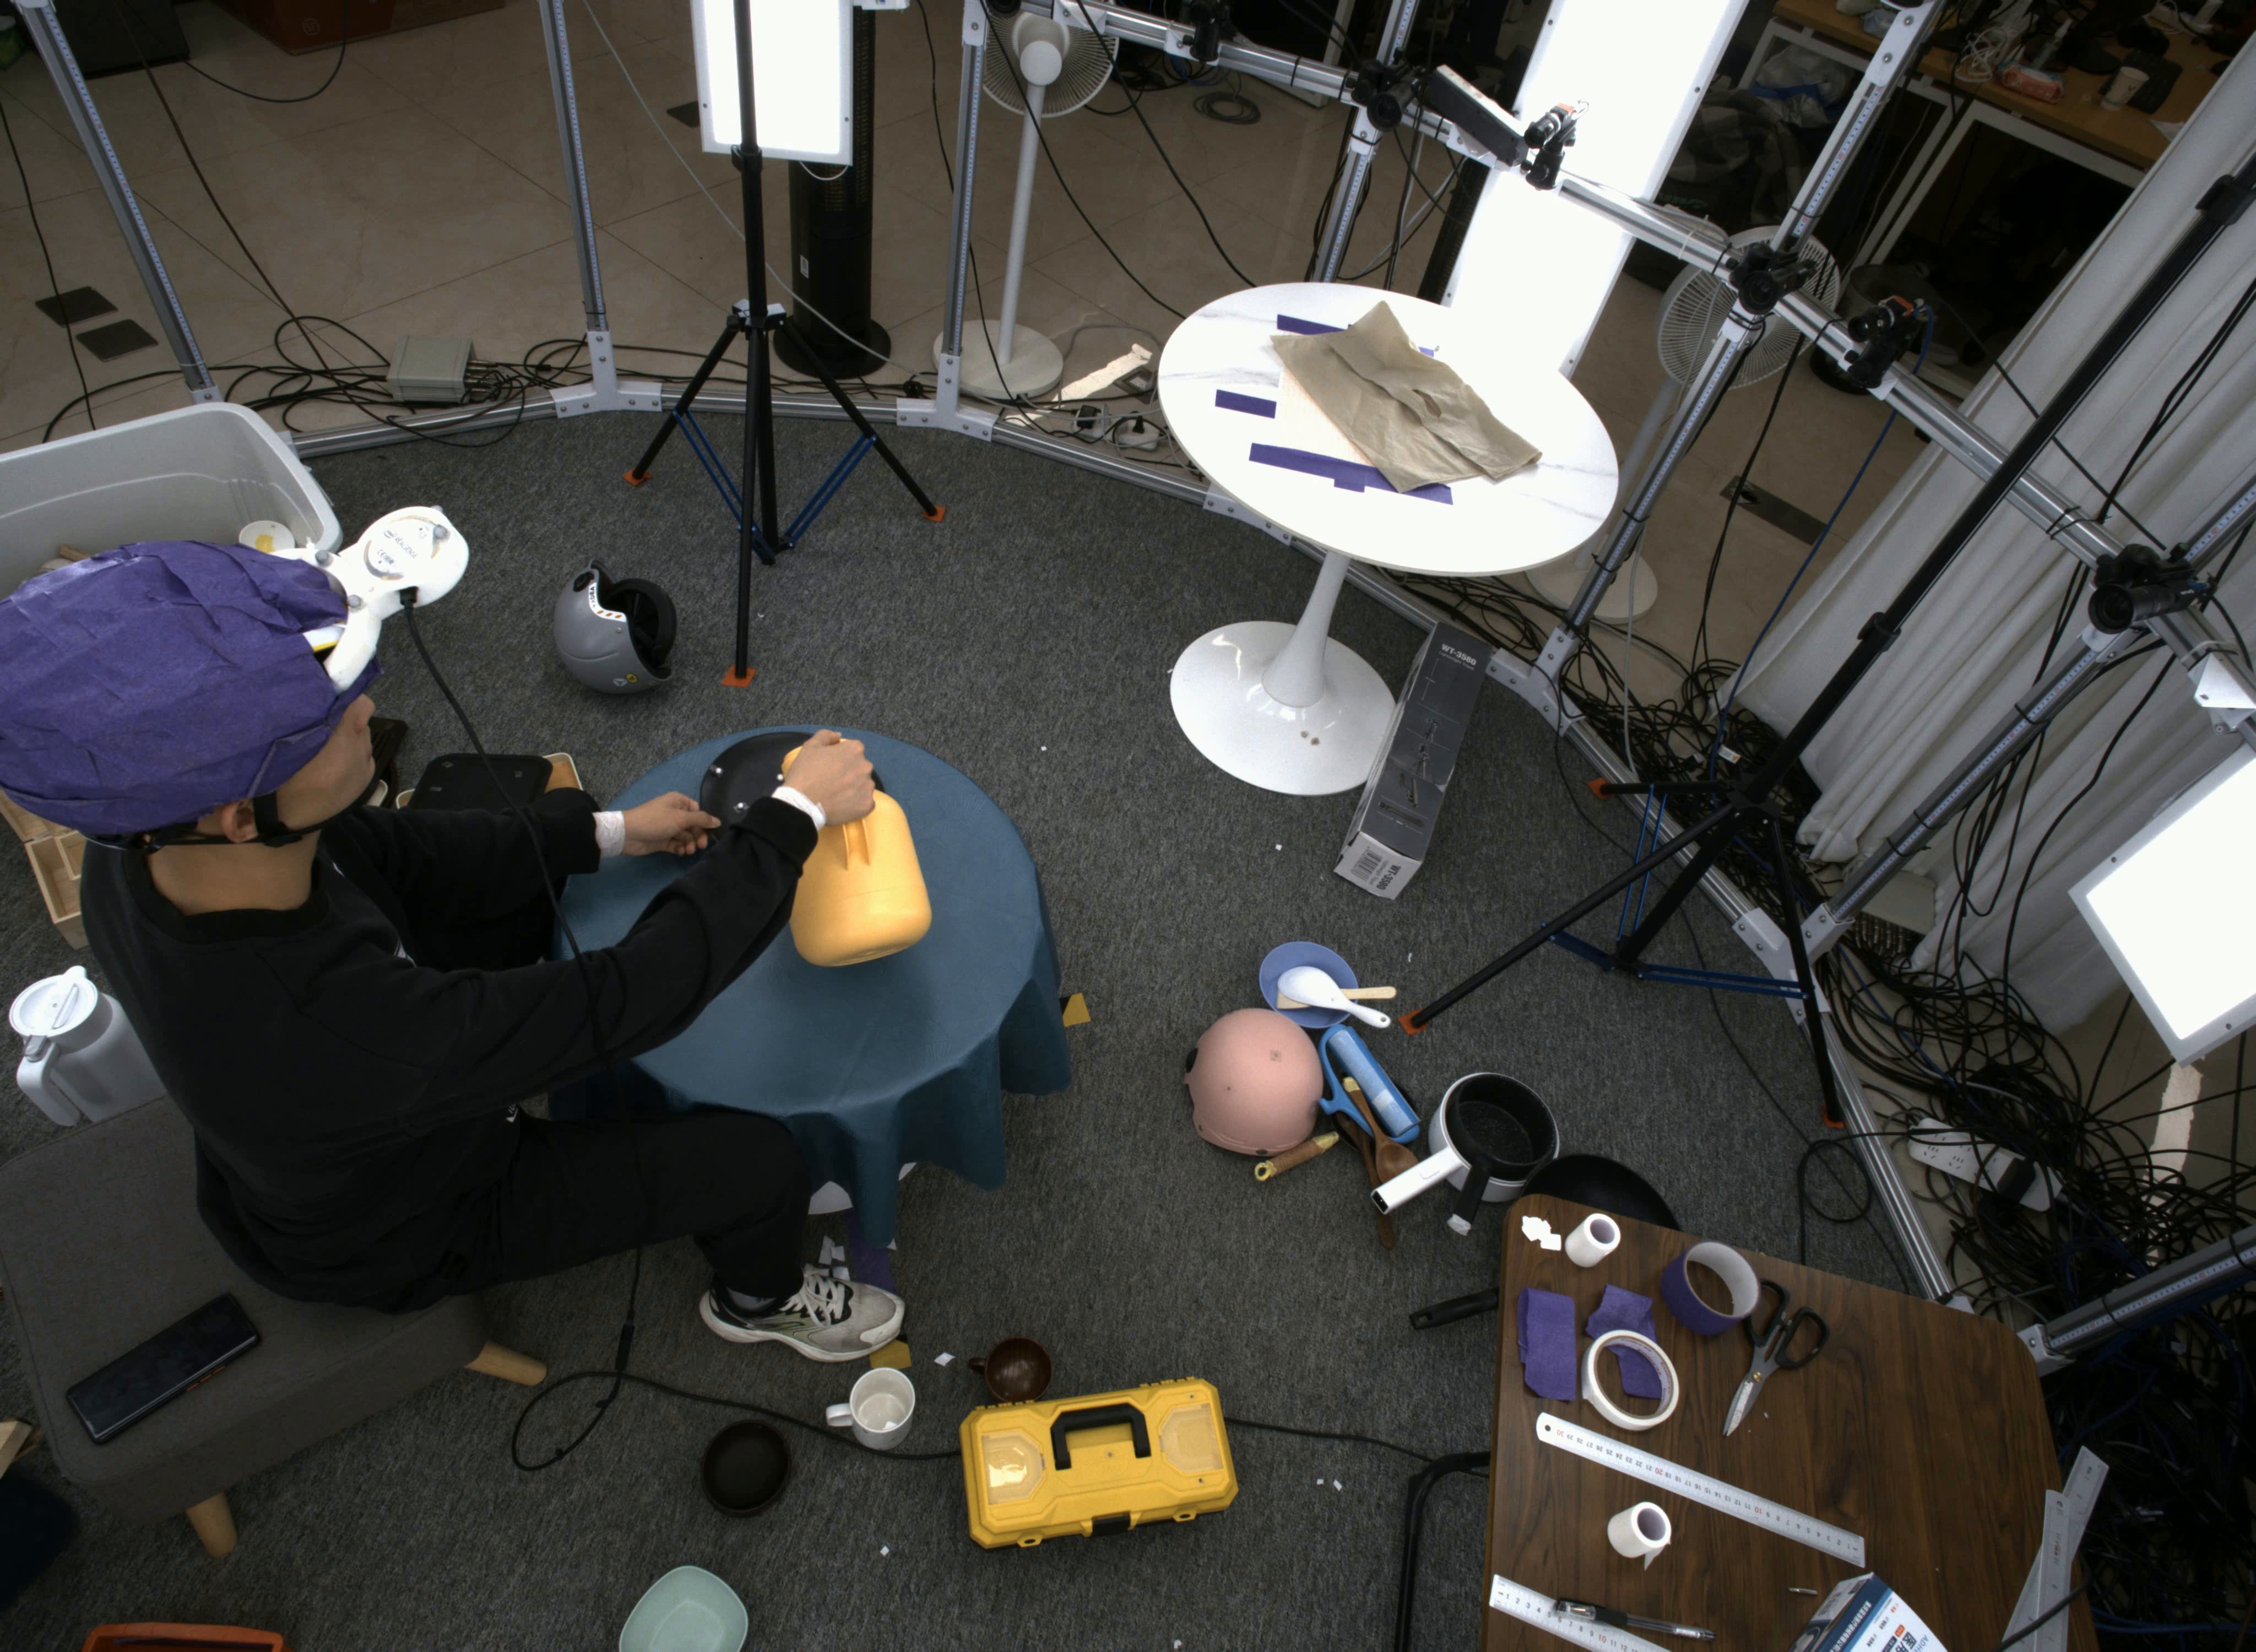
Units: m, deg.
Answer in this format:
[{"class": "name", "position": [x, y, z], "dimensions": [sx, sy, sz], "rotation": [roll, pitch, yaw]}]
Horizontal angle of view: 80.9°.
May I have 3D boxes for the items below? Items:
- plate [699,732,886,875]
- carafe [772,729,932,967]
[{"class": "plate", "position": [-0.441, -0.029, 1.714], "dimensions": [0.245, 0.024, 0.240], "rotation": [11, 50, -12]}, {"class": "carafe", "position": [-0.332, 0.019, 1.512], "dimensions": [0.164, 0.202, 0.260], "rotation": [-16, 81, -18]}]
